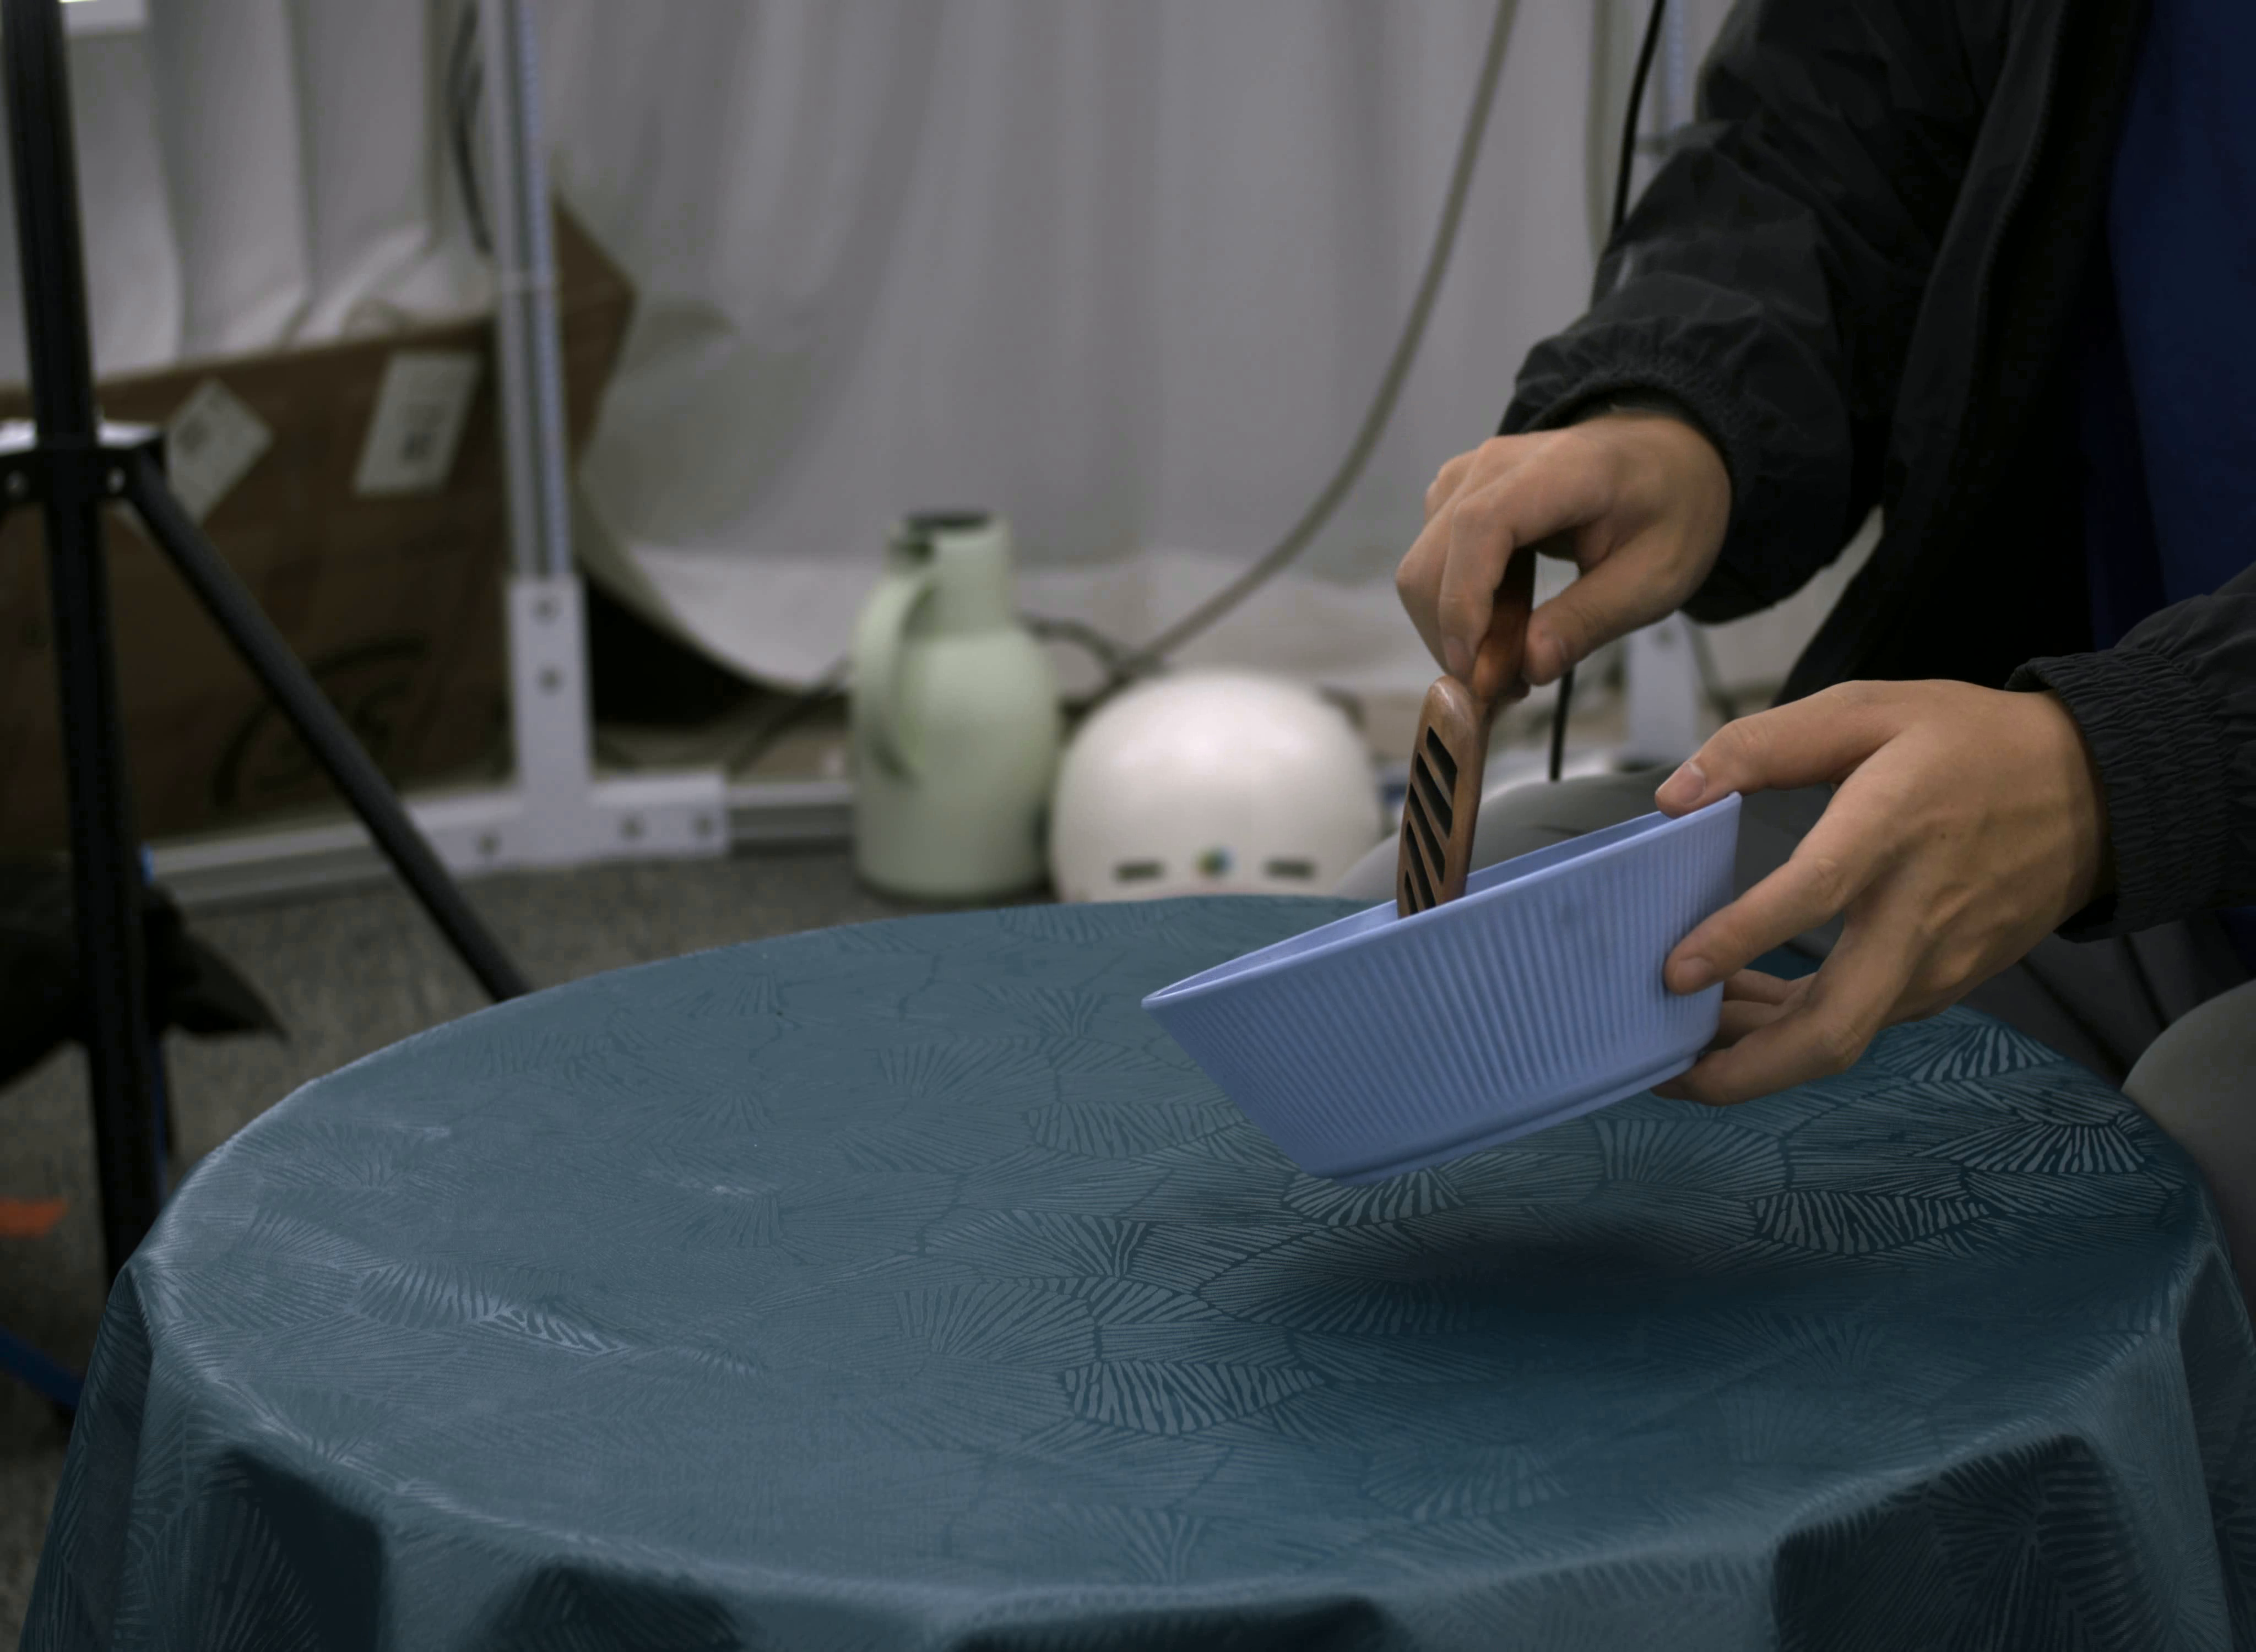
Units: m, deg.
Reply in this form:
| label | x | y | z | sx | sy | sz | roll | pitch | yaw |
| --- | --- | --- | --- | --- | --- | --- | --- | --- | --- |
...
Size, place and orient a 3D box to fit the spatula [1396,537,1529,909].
| label | x | y | z | sx | sy | sz | roll | pitch | yaw |
| --- | --- | --- | --- | --- | --- | --- | --- | --- | --- |
| spatula | 0.104 | -0.039 | 1.607 | 0.024 | 0.086 | 0.386 | 10 | 16 | 5 |

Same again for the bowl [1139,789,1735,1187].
| label | x | y | z | sx | sy | sz | roll | pitch | yaw |
| --- | --- | --- | --- | --- | --- | --- | --- | --- | --- |
| bowl | 0.095 | 0.050 | 1.468 | 0.175 | 0.070 | 0.176 | -19 | -1 | -2 |
